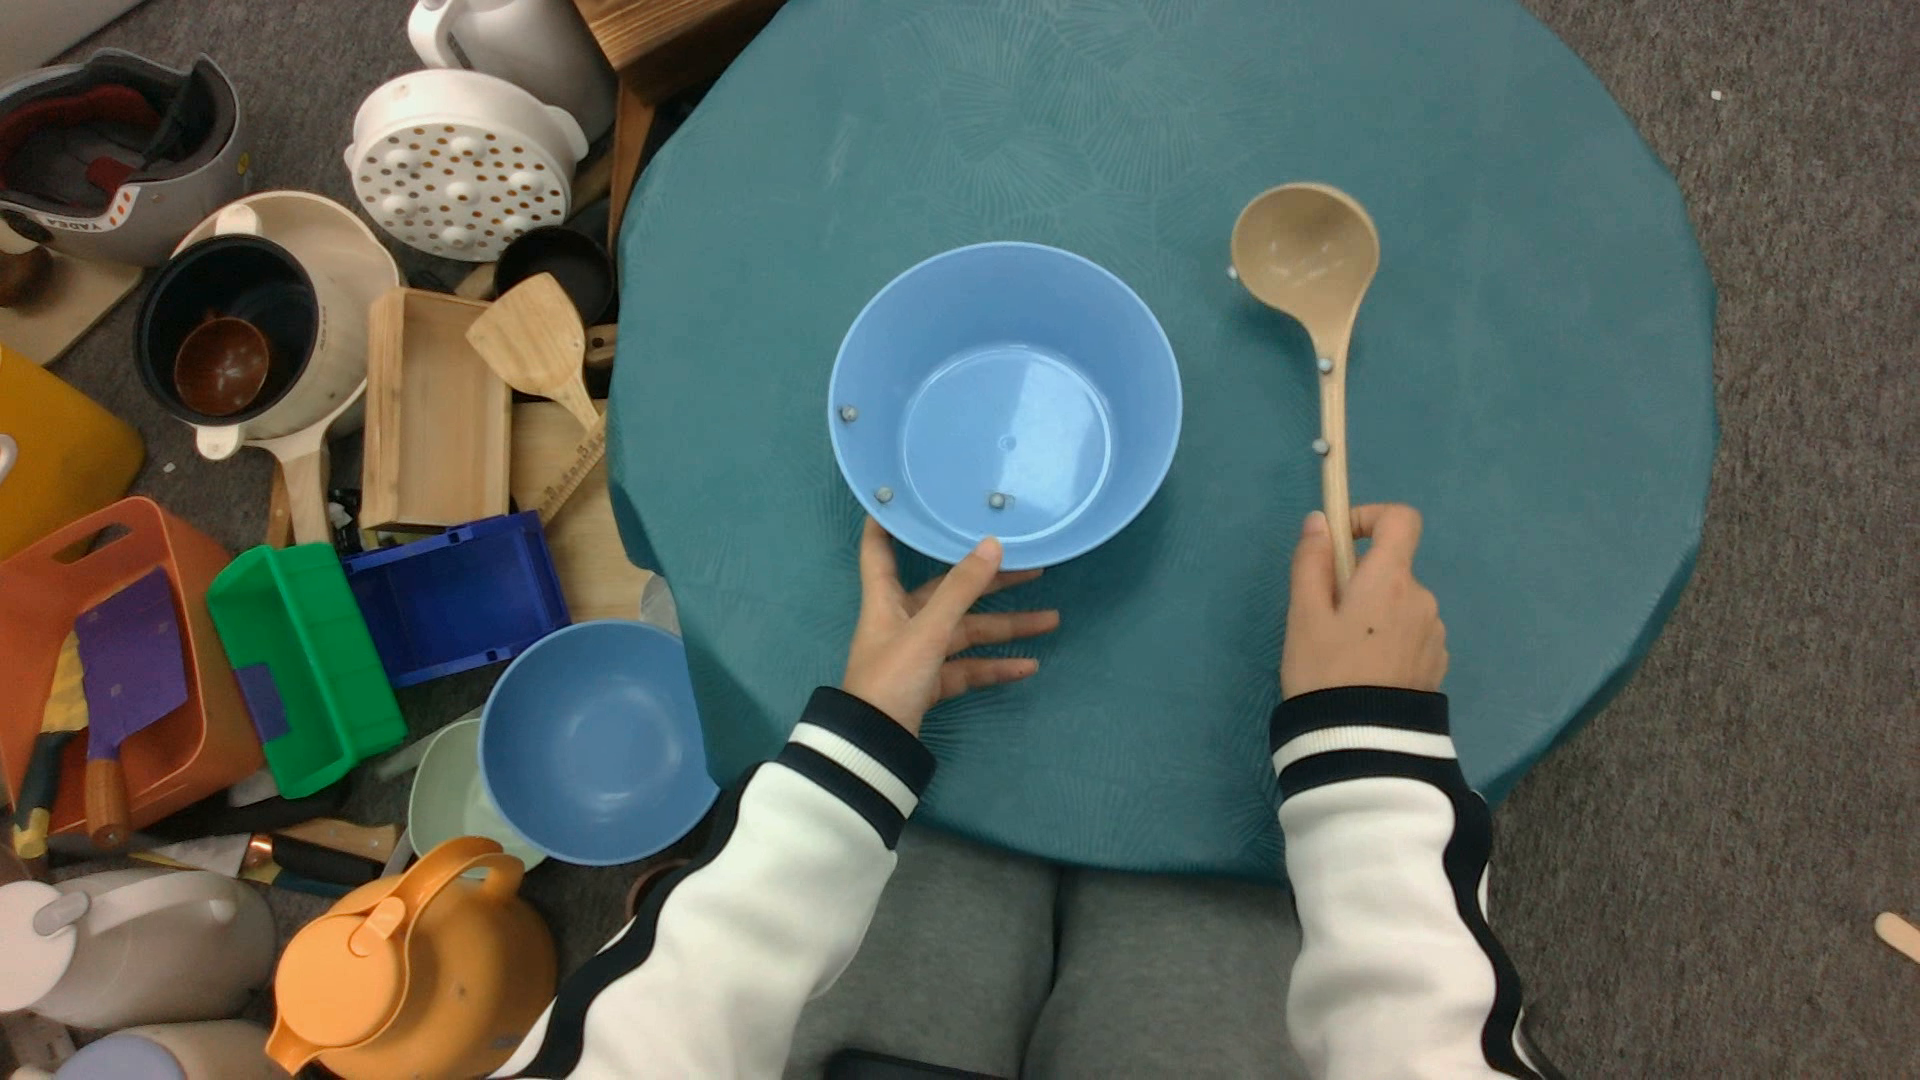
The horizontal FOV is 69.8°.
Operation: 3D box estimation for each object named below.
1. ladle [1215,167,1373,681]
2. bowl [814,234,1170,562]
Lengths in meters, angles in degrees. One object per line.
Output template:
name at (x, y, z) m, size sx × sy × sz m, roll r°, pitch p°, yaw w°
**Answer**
ladle at (0.165, -0.064, 0.658) m, size 0.072 × 0.073 × 0.255 m, roll -14°, pitch 62°, yaw 30°
bowl at (0.017, -0.064, 0.709) m, size 0.176 × 0.070 × 0.176 m, roll -1°, pitch 72°, yaw 3°
